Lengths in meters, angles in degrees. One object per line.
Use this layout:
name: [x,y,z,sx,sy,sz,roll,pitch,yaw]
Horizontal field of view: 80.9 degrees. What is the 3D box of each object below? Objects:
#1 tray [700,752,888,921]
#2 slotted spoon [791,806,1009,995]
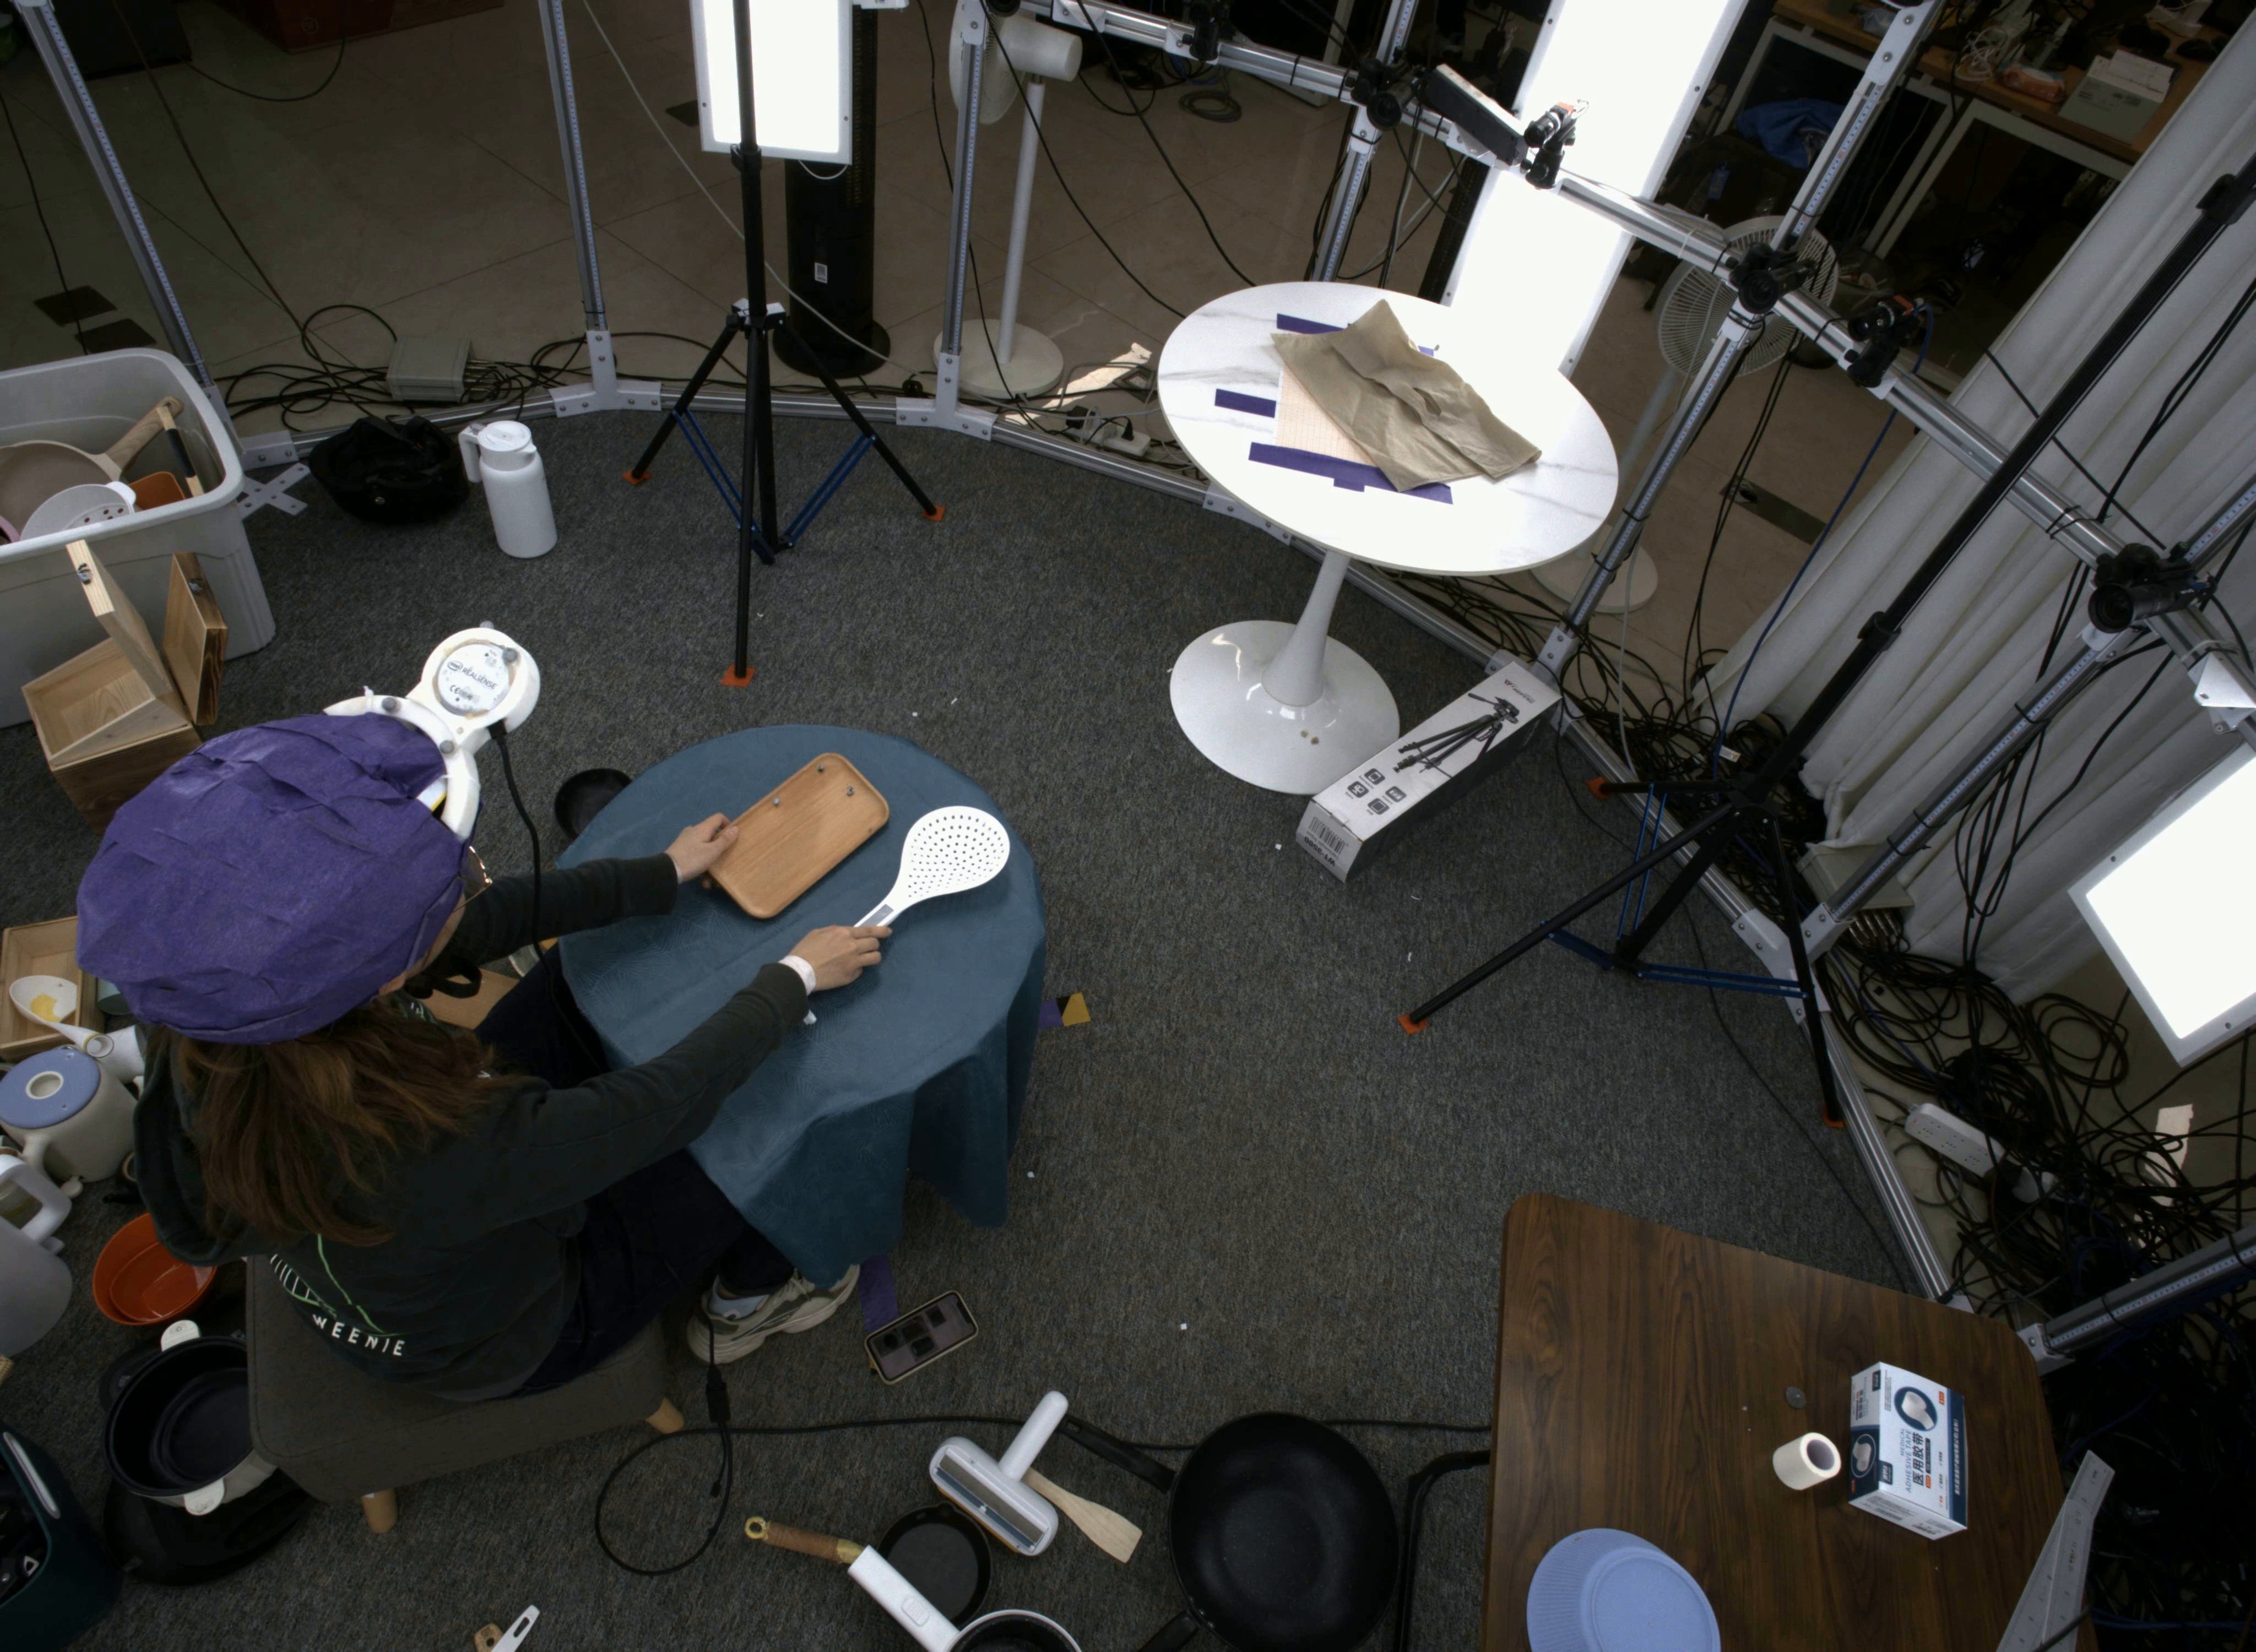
tray: [-0.430,0.010,1.685,0.131,0.023,0.250,46,55,-1]
slotted spoon: [-0.291,0.093,1.659,0.132,0.047,0.350,34,51,19]
